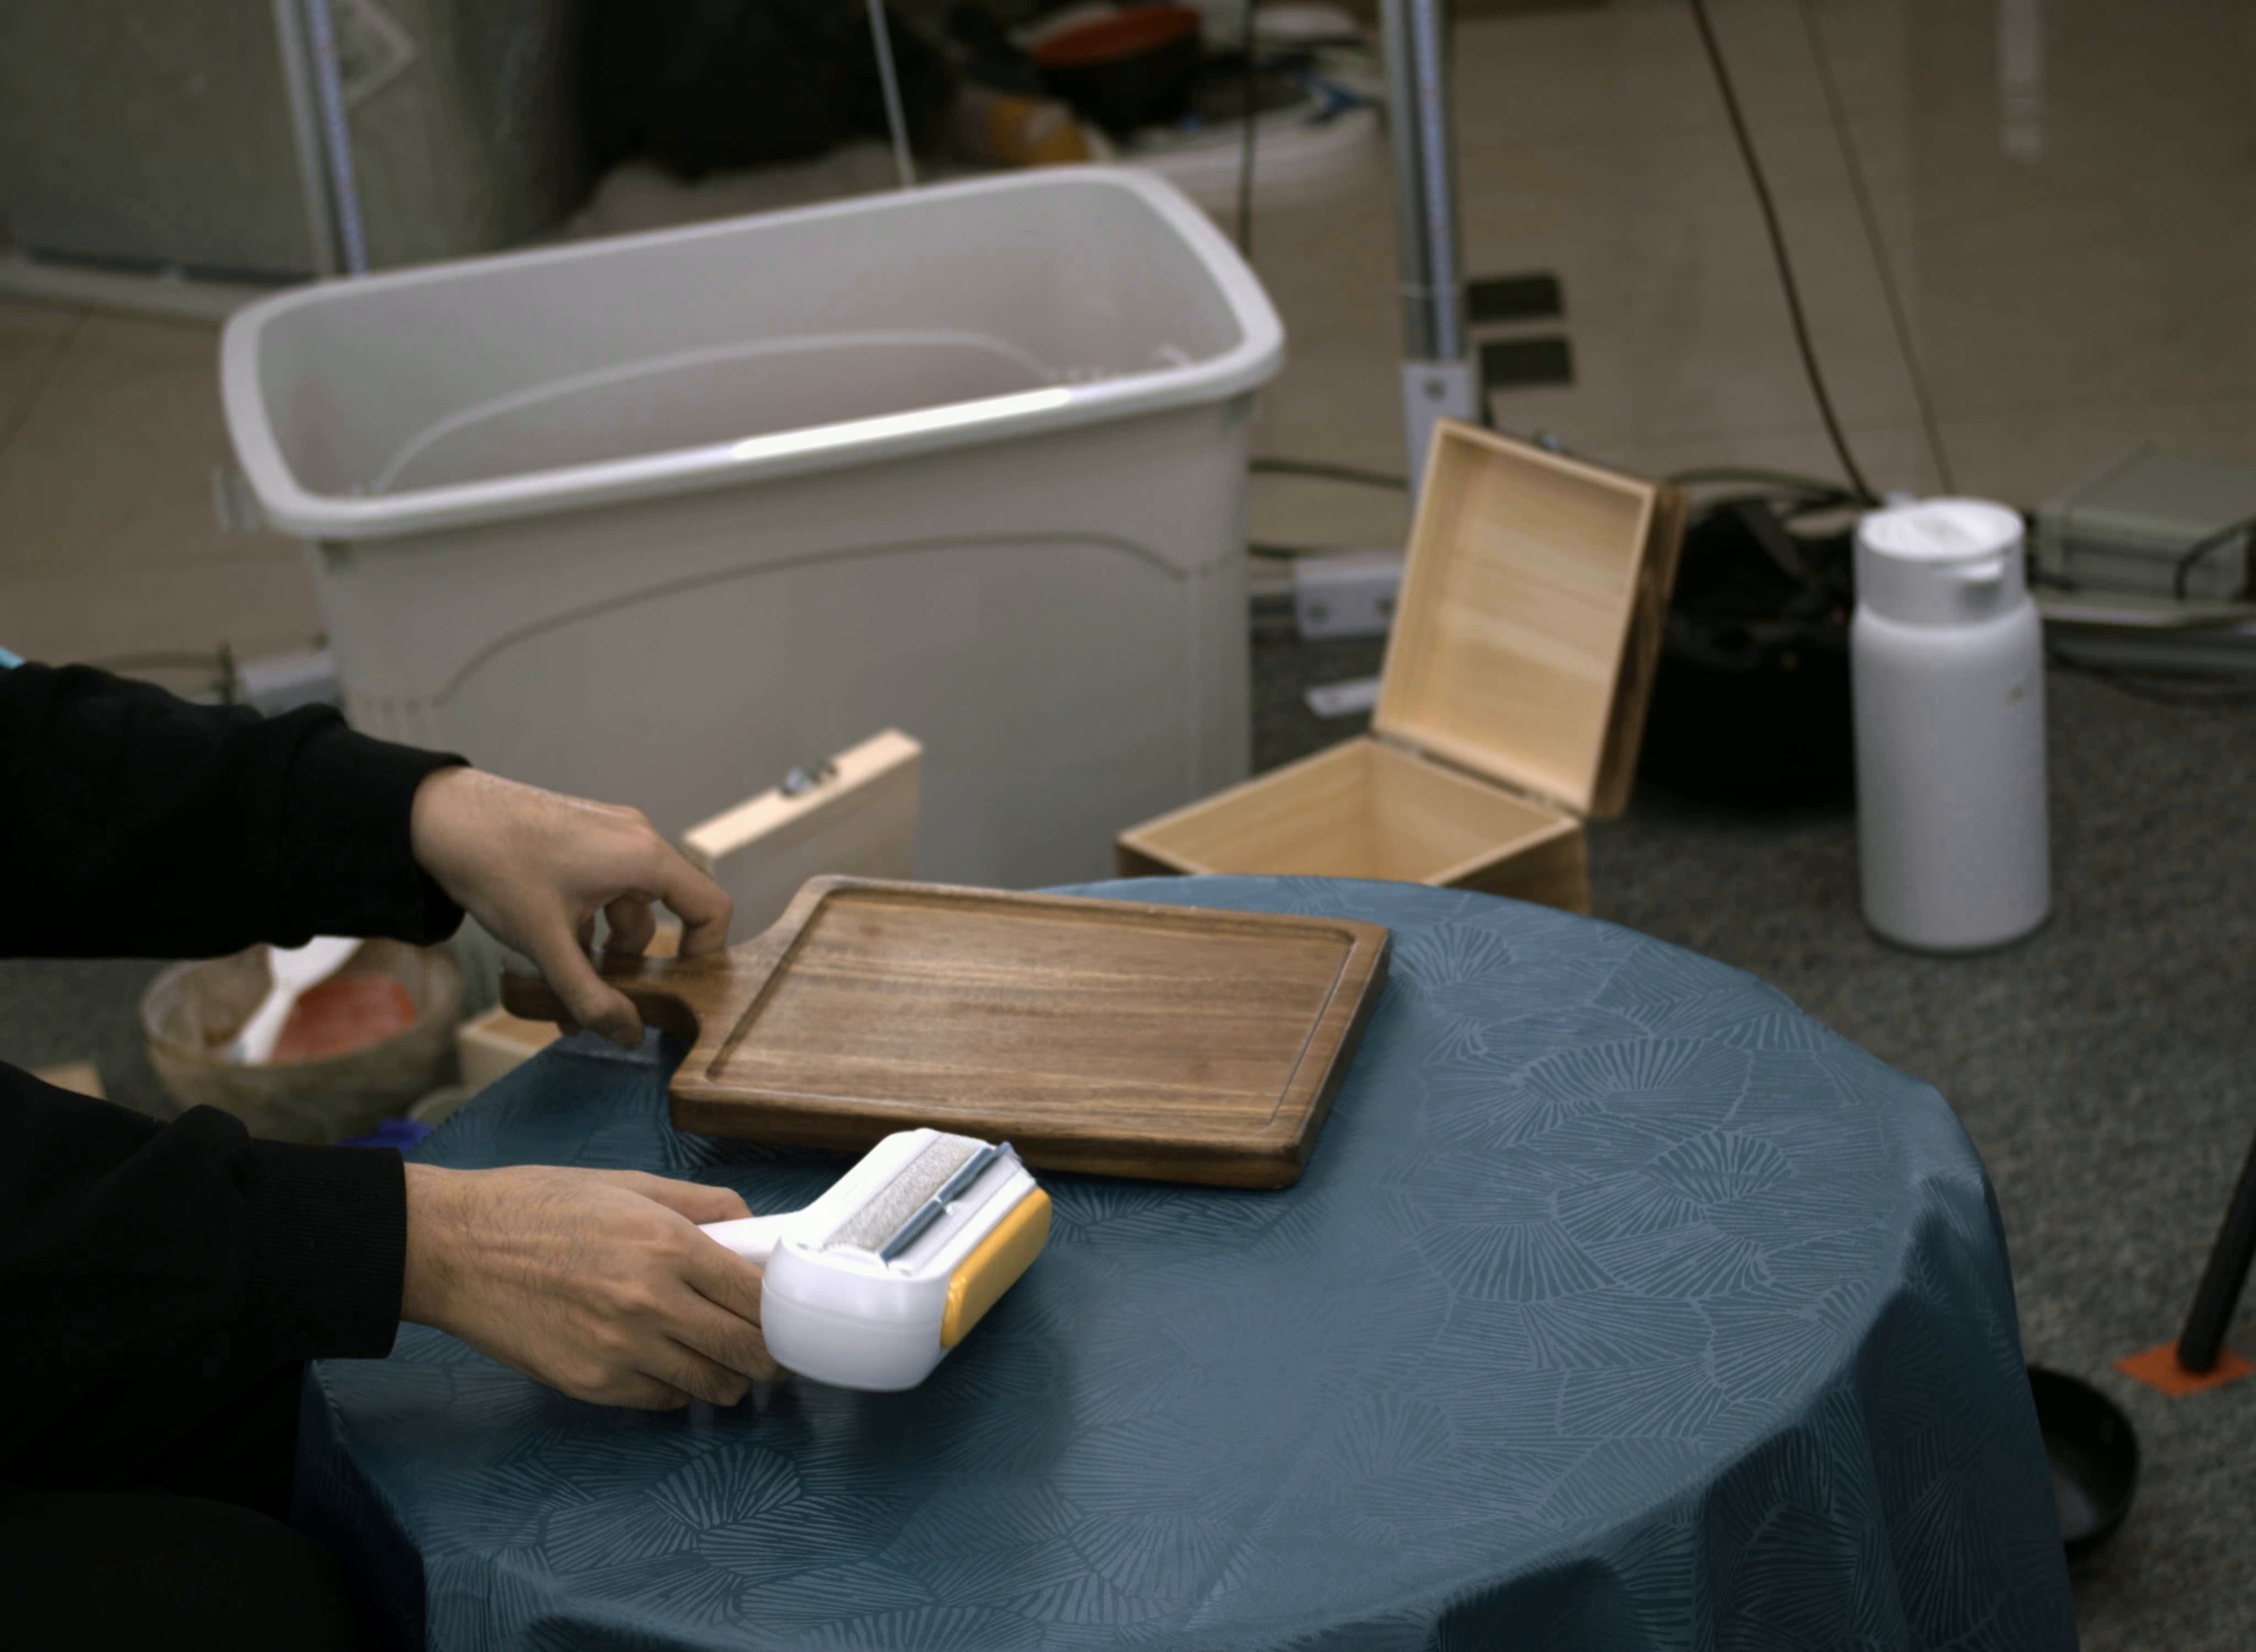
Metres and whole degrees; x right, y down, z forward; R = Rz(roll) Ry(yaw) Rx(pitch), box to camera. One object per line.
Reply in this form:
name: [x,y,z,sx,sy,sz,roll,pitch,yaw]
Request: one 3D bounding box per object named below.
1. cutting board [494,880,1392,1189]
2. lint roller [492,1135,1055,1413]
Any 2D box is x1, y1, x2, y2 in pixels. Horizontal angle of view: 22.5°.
cutting board: [-0.082,0.076,2.247,0.351,0.023,0.198,4,27,13]
lint roller: [-0.137,0.157,2.033,0.192,0.075,0.191,6,18,15]
